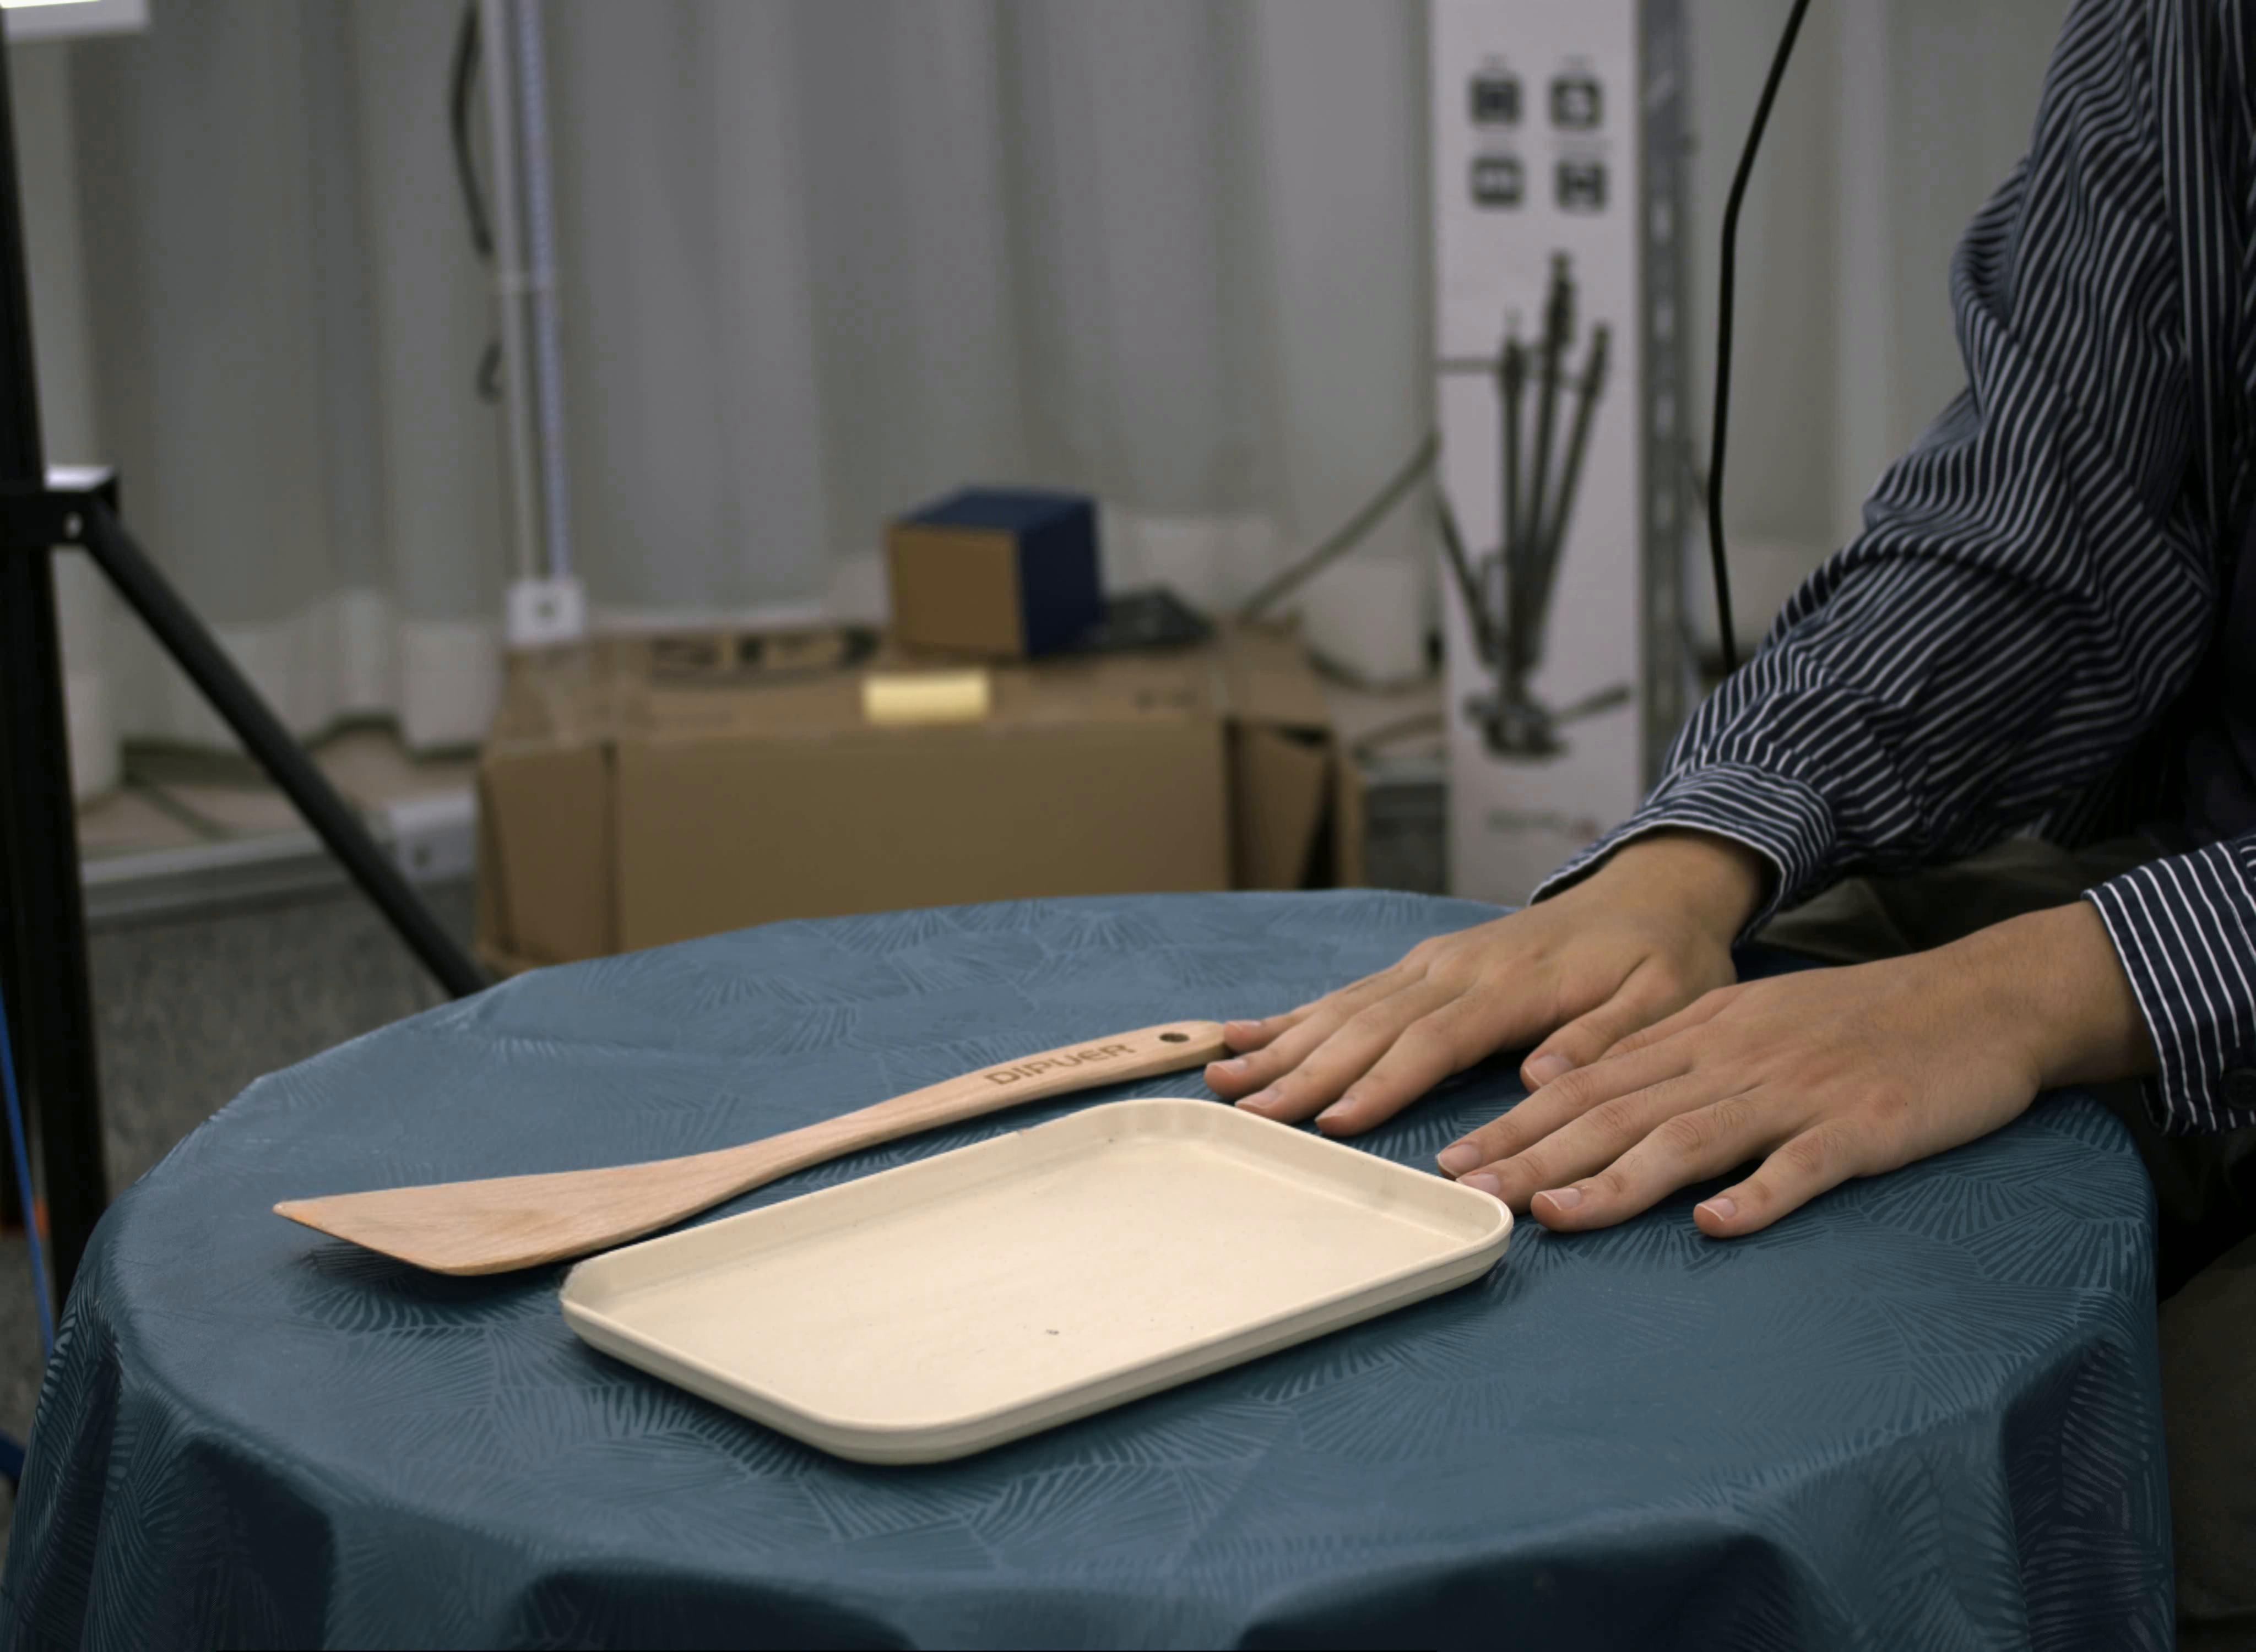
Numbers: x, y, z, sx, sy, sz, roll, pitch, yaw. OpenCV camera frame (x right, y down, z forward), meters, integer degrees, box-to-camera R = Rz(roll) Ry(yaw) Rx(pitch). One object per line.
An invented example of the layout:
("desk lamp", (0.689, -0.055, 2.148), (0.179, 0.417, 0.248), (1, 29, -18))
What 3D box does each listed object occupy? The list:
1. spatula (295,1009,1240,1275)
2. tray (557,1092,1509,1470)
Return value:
("spatula", (-0.092, 0.091, 1.604), (0.320, 0.016, 0.082), (-14, 21, -35))
("tray", (-0.025, 0.125, 1.475), (0.234, 0.017, 0.175), (-14, 20, -36))
